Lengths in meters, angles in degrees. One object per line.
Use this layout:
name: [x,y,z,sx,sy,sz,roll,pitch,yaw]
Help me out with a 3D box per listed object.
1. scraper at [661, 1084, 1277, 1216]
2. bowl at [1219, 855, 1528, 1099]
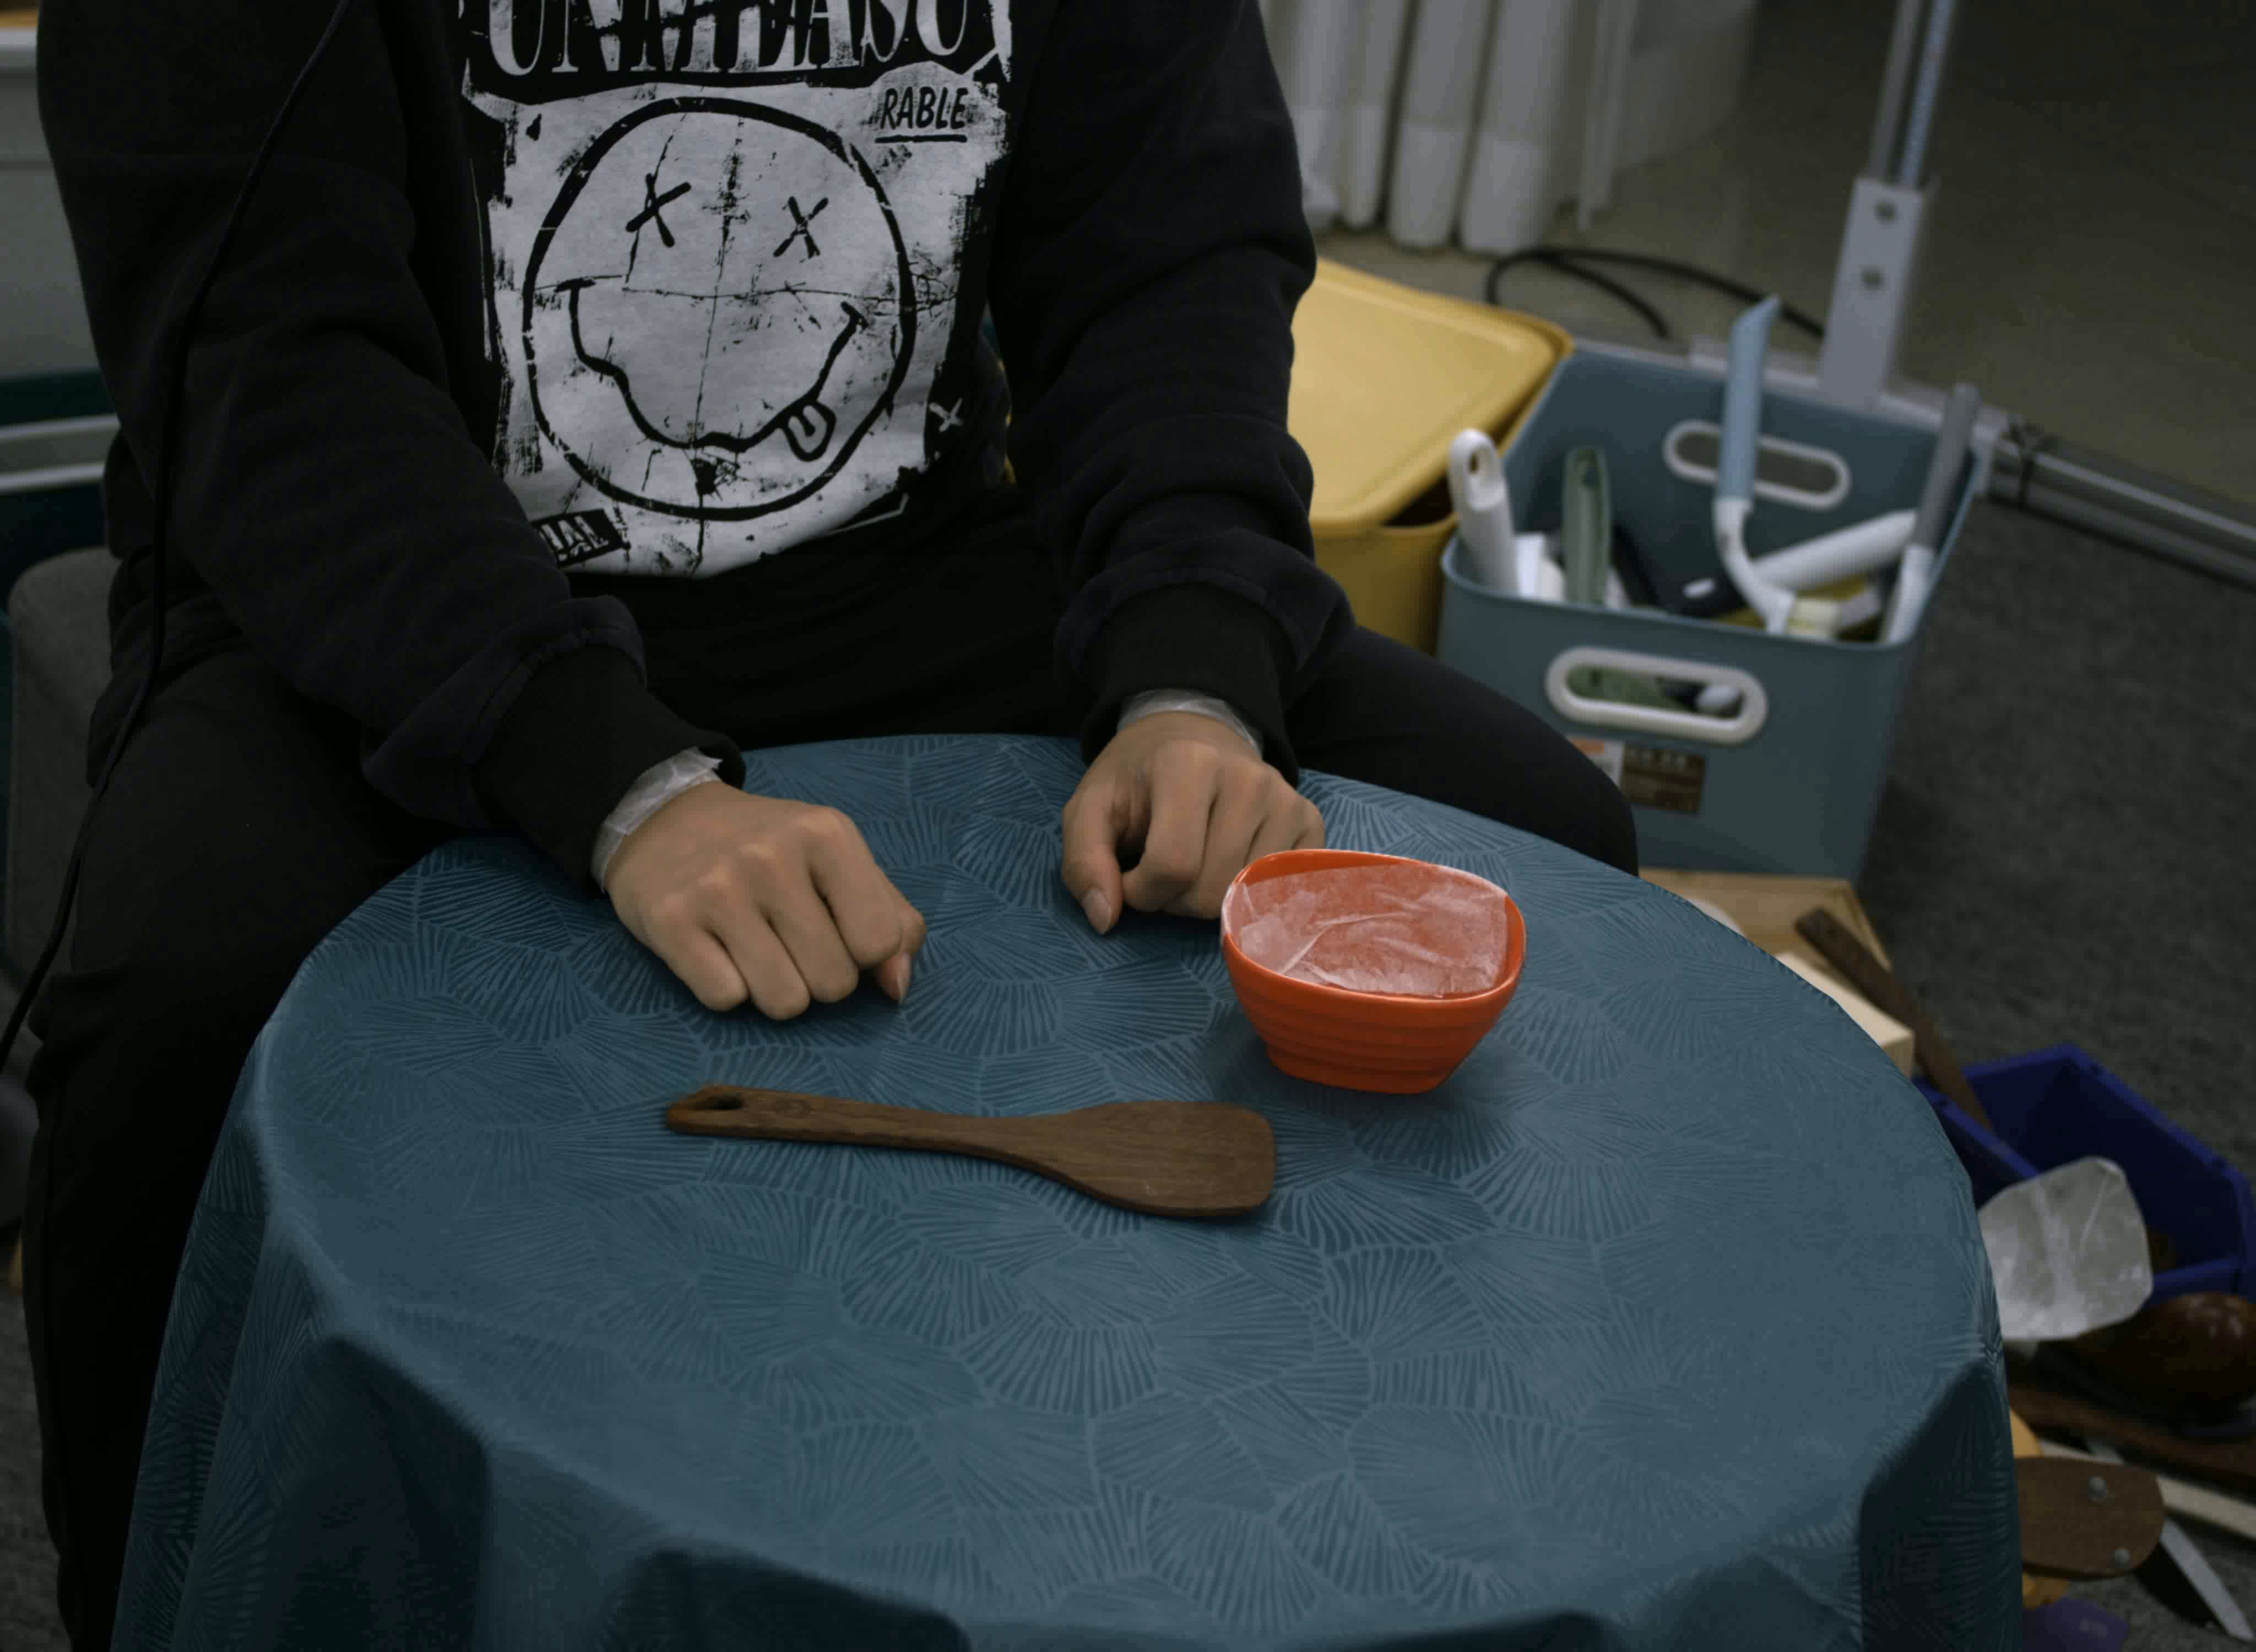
scraper: [-0.054,0.106,1.815,0.211,0.011,0.076,6,25,0]
bowl: [0.085,0.058,1.897,0.118,0.051,0.119,4,28,-3]
